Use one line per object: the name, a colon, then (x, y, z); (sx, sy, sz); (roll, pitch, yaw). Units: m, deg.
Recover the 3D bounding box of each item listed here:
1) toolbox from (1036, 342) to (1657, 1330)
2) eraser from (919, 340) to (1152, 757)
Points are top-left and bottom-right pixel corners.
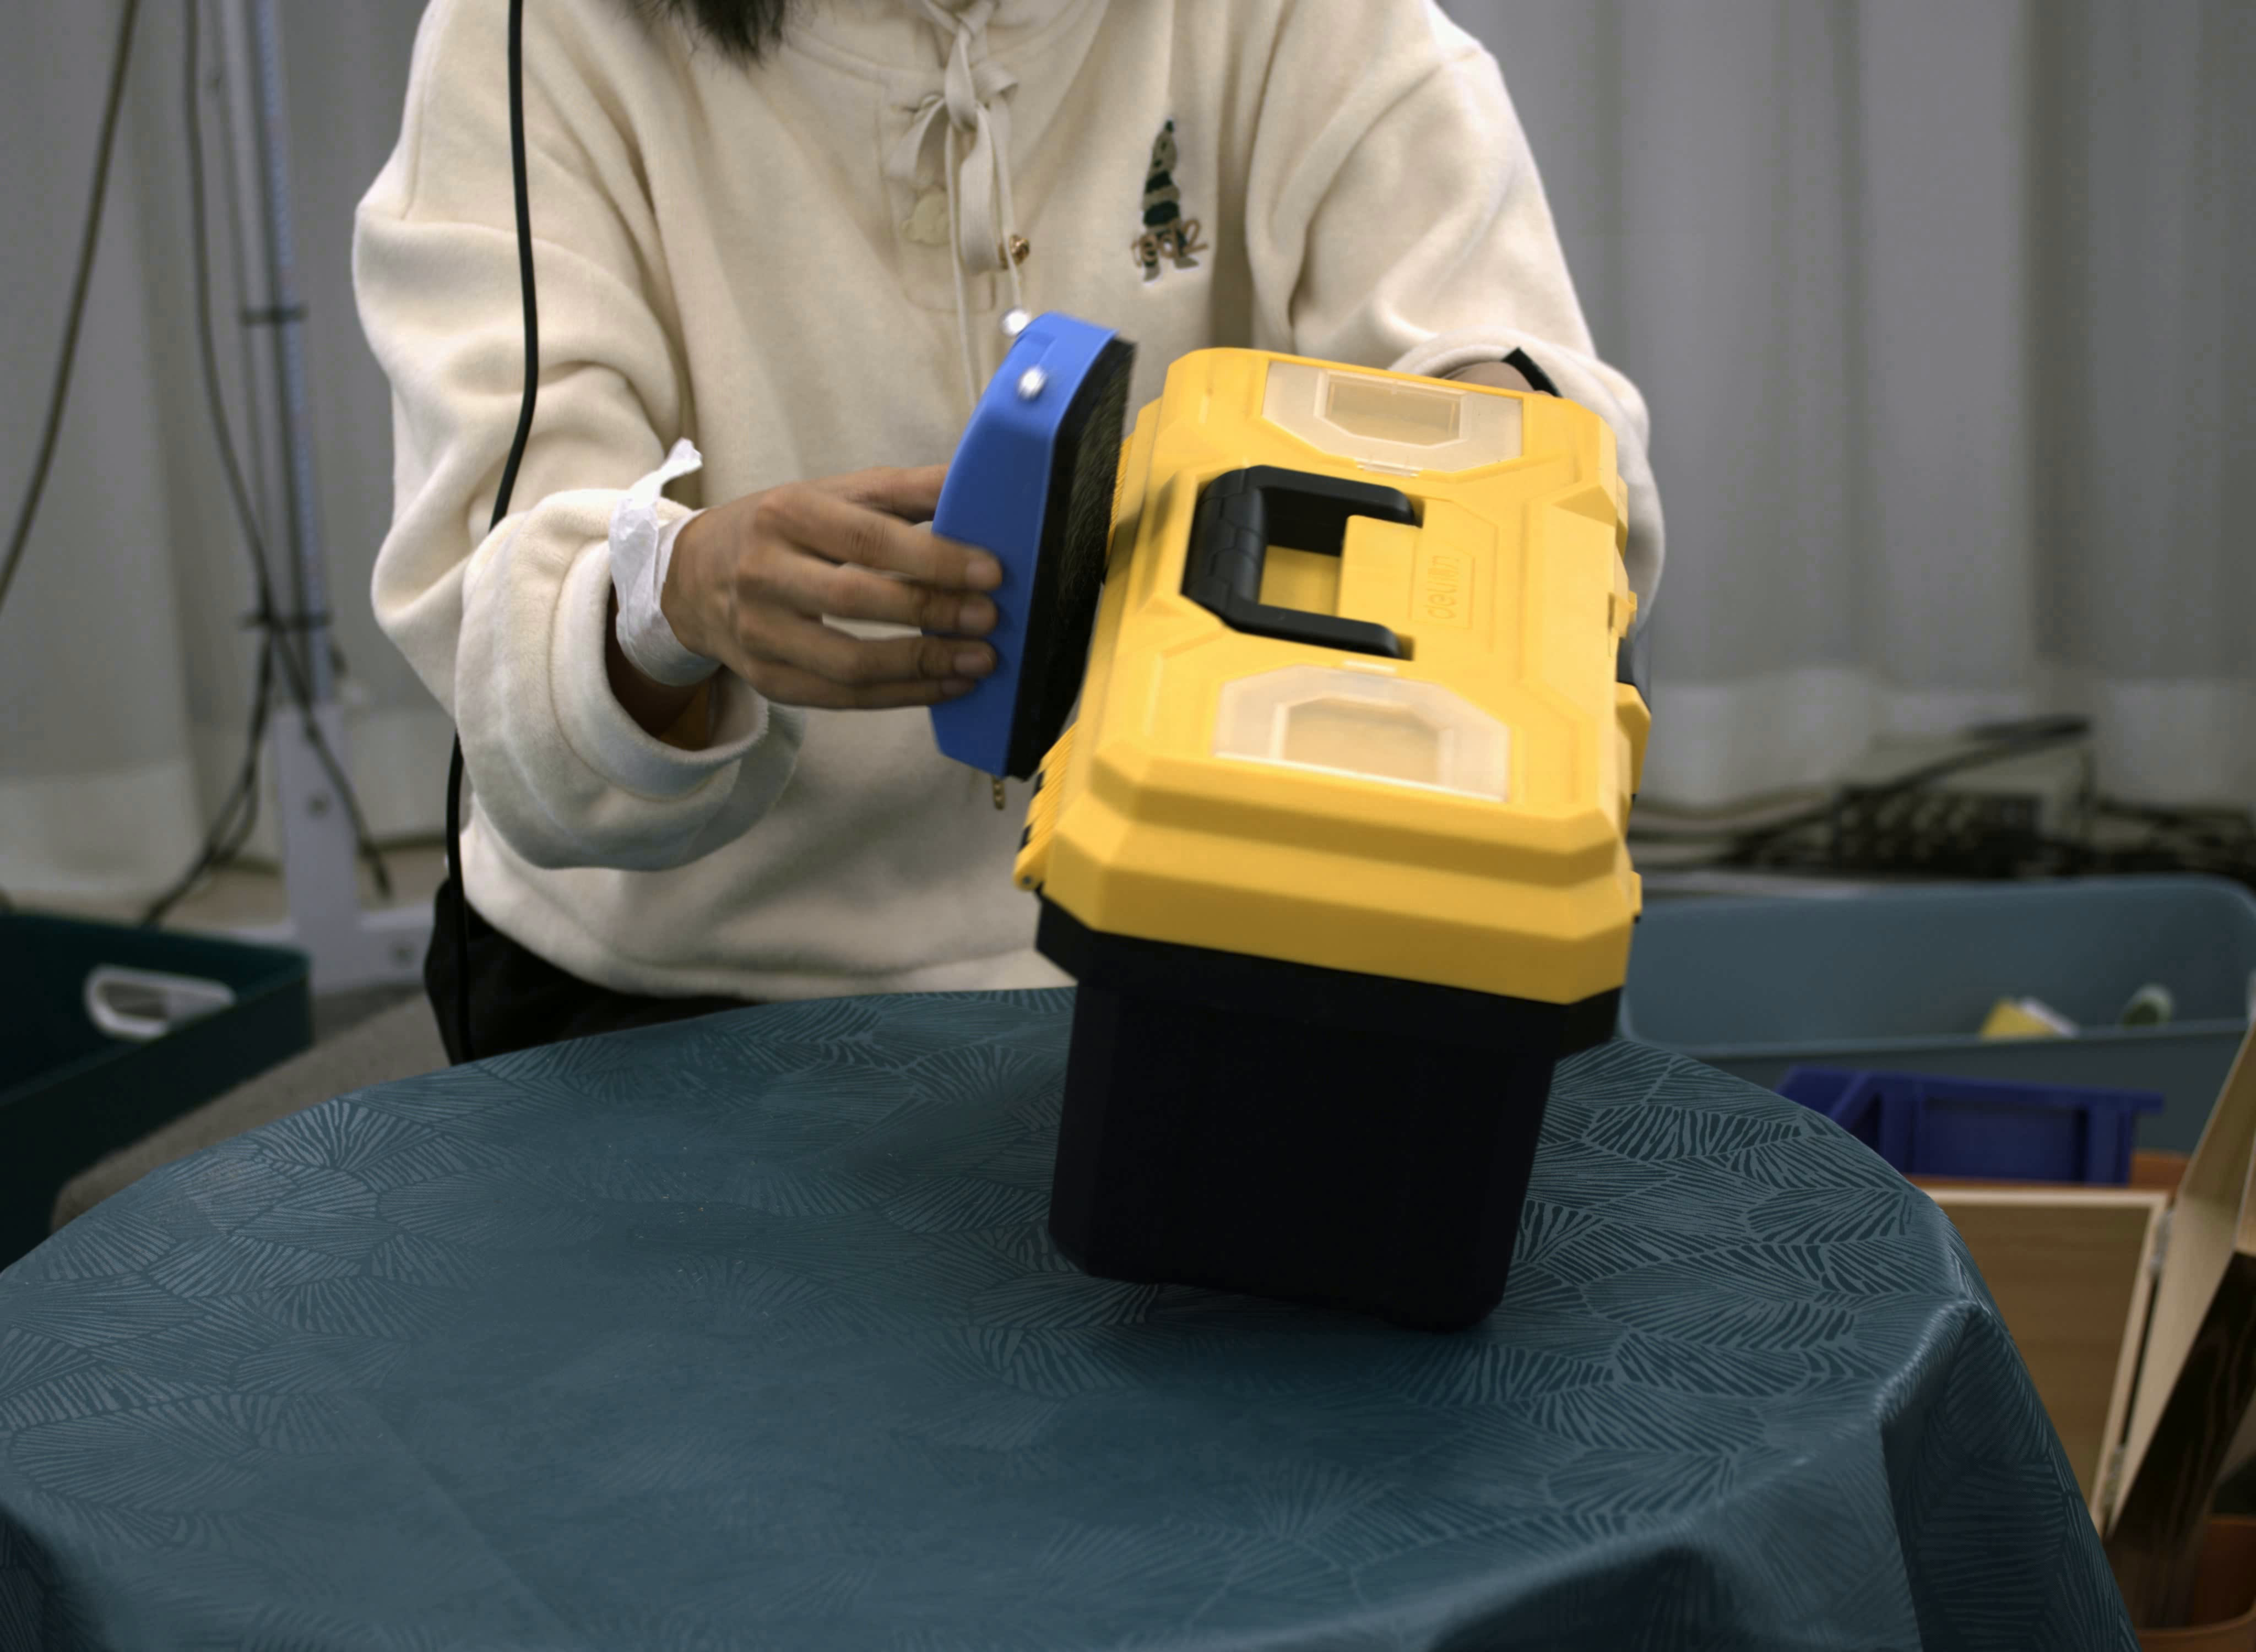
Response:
toolbox: (0.065, -0.005, 1.679); (0.181, 0.171, 0.355); (9, 26, 1)
eraser: (-0.034, -0.086, 1.692); (0.047, 0.160, 0.054); (19, 56, 0)
